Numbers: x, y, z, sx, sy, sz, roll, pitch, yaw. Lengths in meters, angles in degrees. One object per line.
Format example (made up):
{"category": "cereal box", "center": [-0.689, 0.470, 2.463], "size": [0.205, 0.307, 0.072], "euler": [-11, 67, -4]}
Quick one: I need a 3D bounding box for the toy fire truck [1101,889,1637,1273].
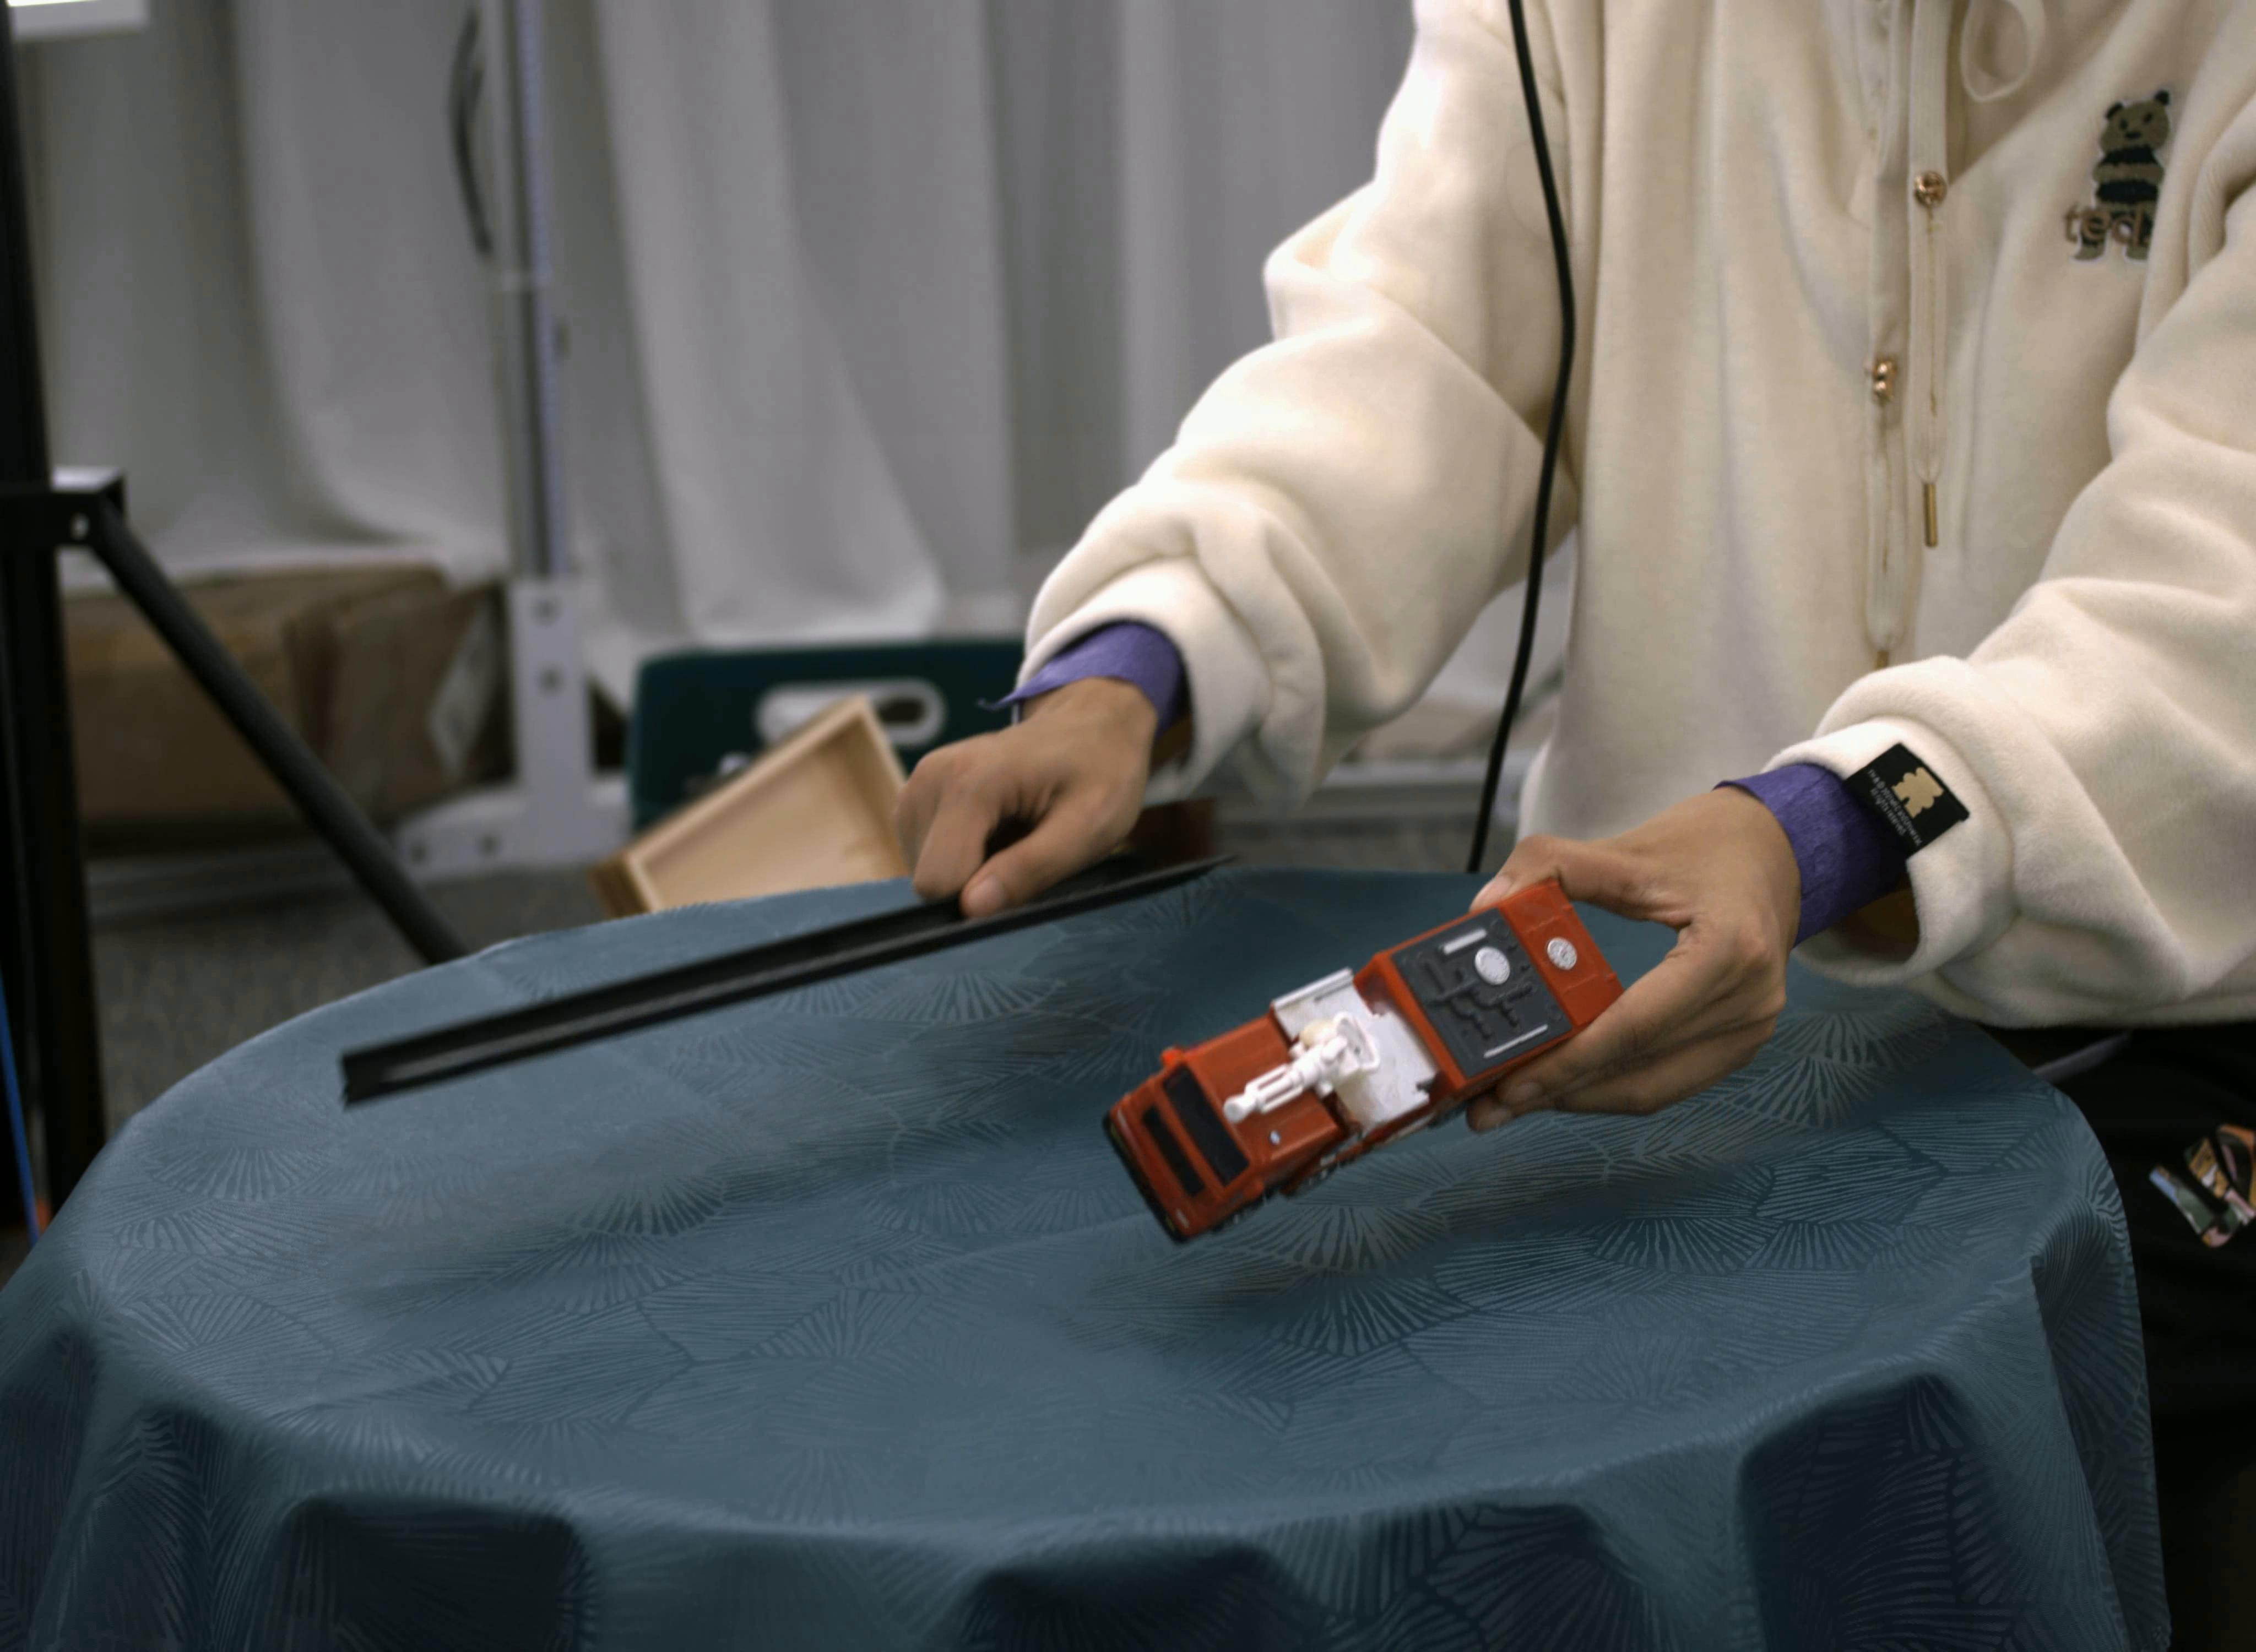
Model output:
{"category": "toy fire truck", "center": [0.069, 0.070, 1.494], "size": [0.164, 0.054, 0.071], "euler": [-21, -20, -39]}

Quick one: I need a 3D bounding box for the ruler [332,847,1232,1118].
{"category": "ruler", "center": [-0.099, 0.042, 1.607], "size": [0.305, 0.017, 0.040], "euler": [-14, -5, -34]}
